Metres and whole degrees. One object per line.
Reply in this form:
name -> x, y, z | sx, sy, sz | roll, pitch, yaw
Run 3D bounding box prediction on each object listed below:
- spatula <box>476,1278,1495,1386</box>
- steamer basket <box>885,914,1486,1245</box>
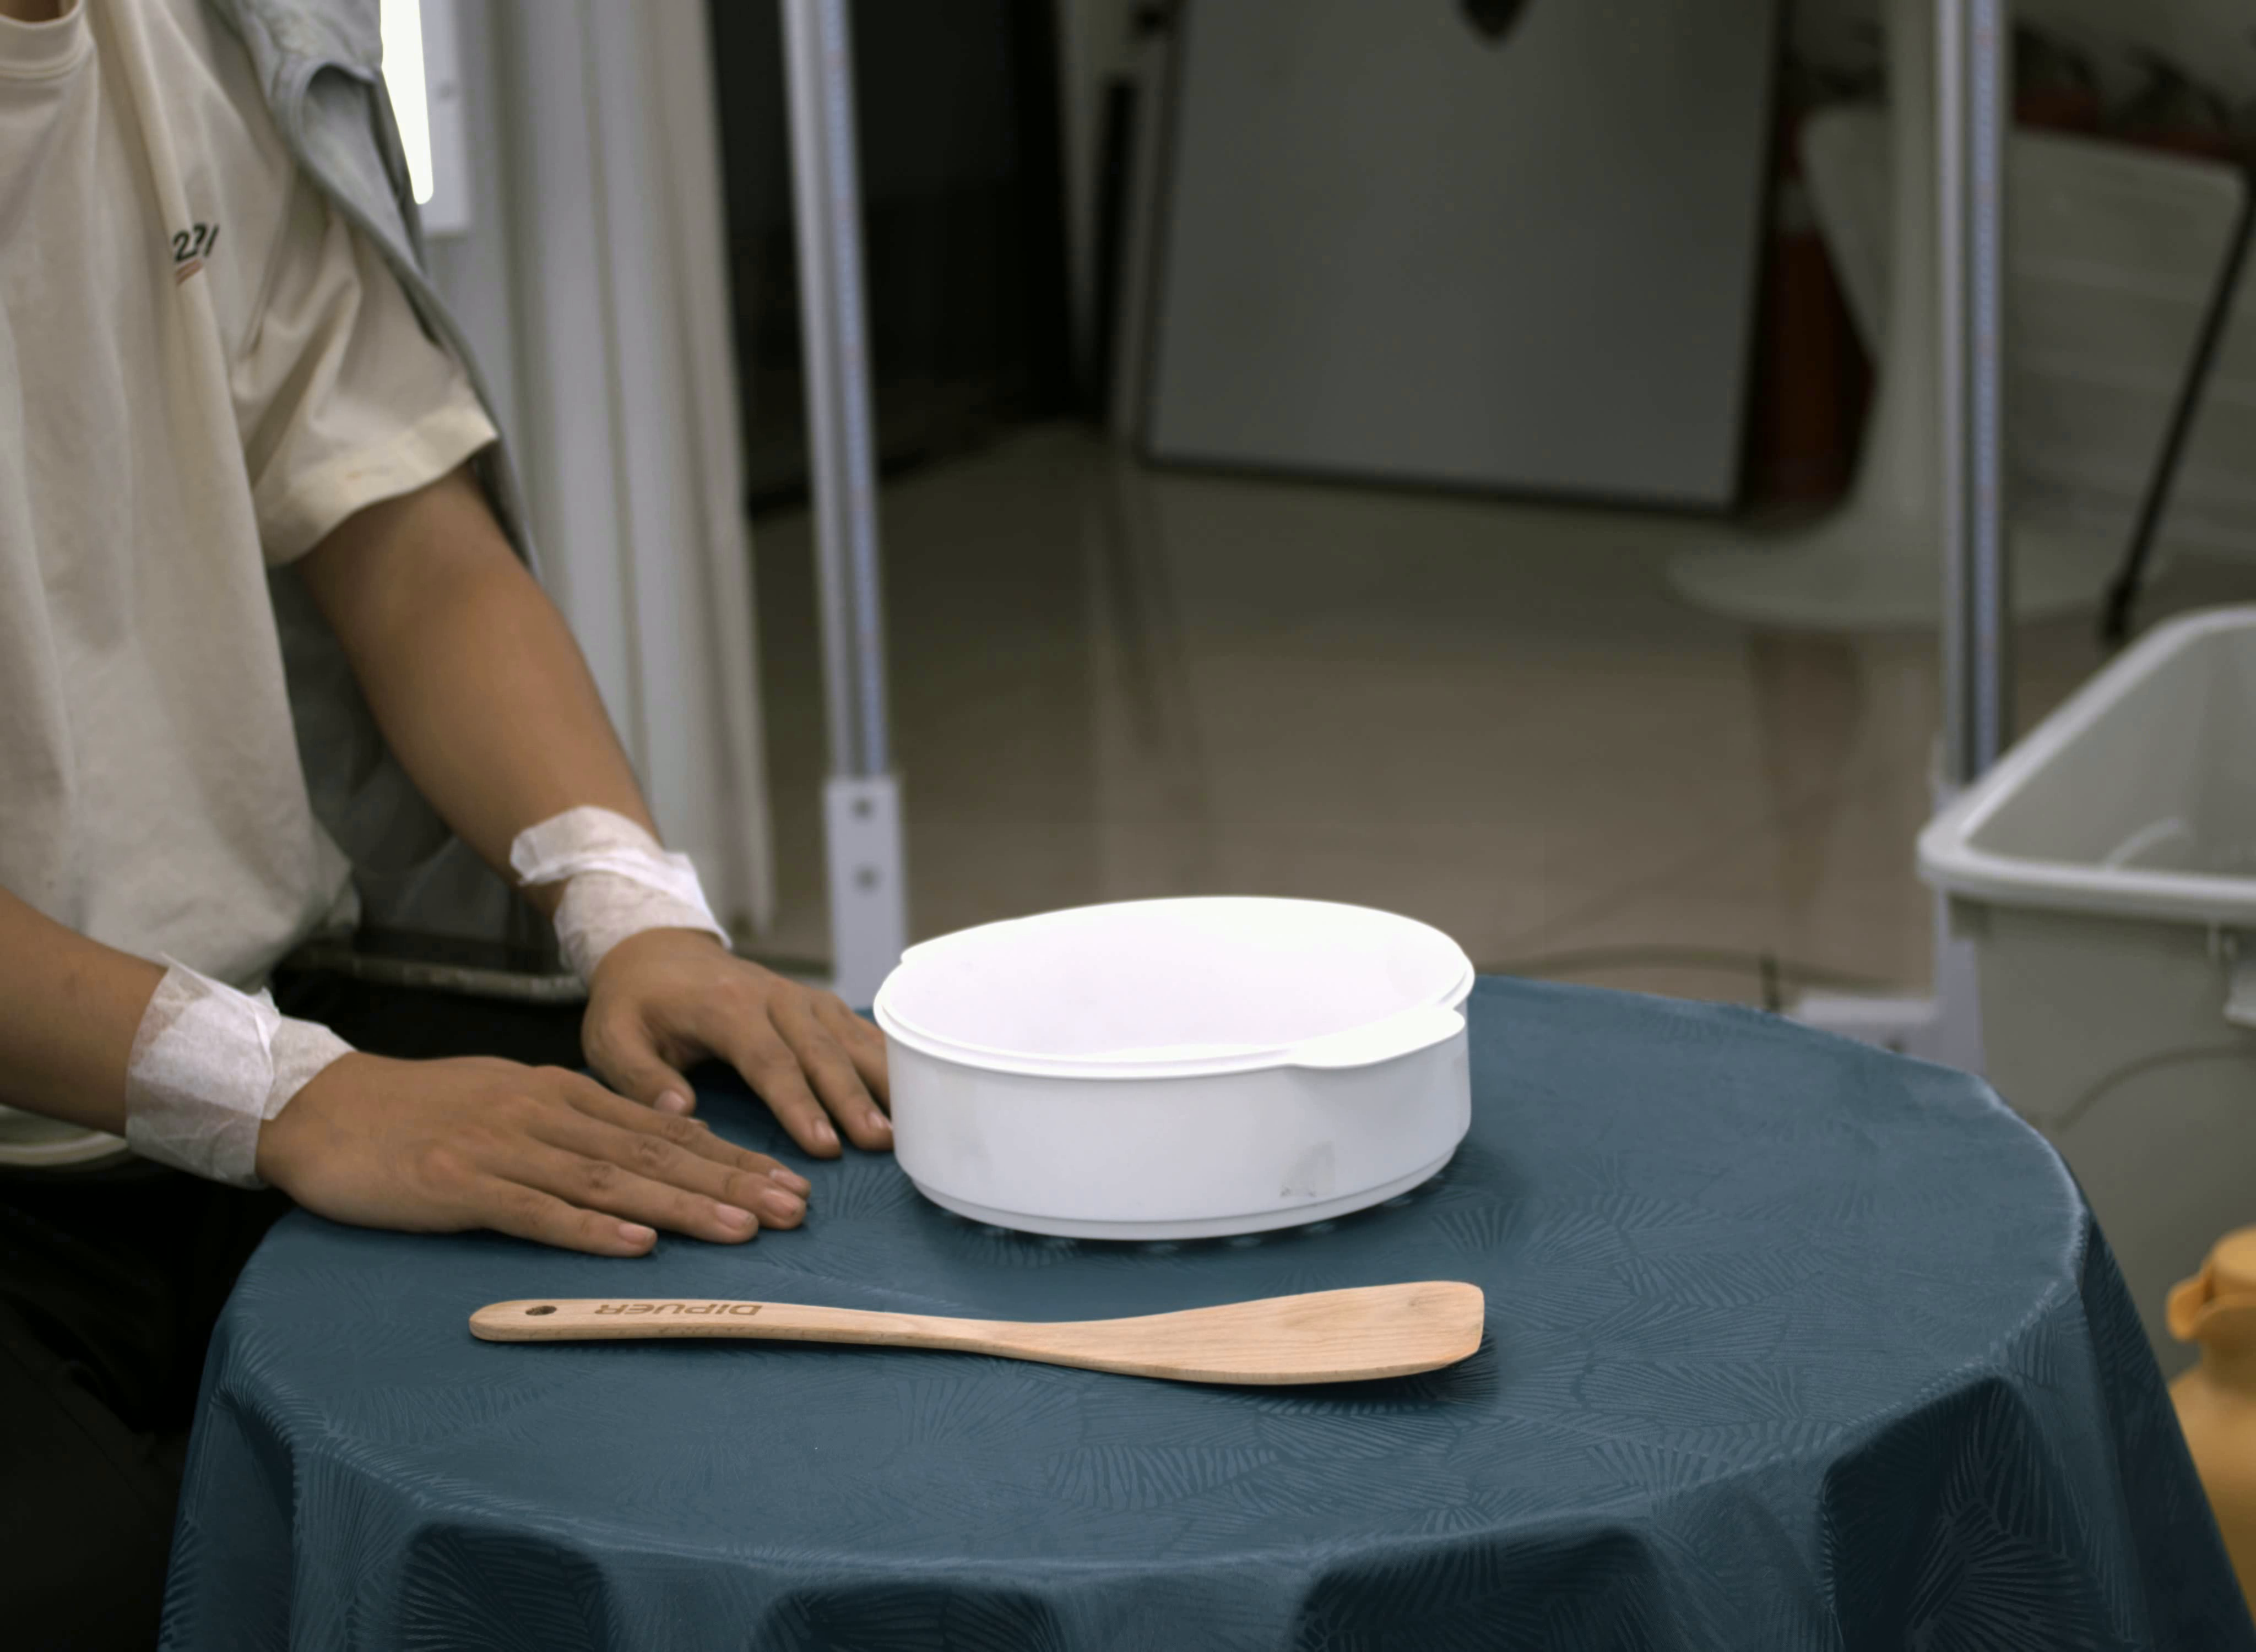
spatula -> -0.044, 0.151, 1.631 | 0.326, 0.017, 0.079 | 0, 13, 16
steamer basket -> 0.020, 0.084, 1.785 | 0.197, 0.070, 0.233 | -13, 16, -39
